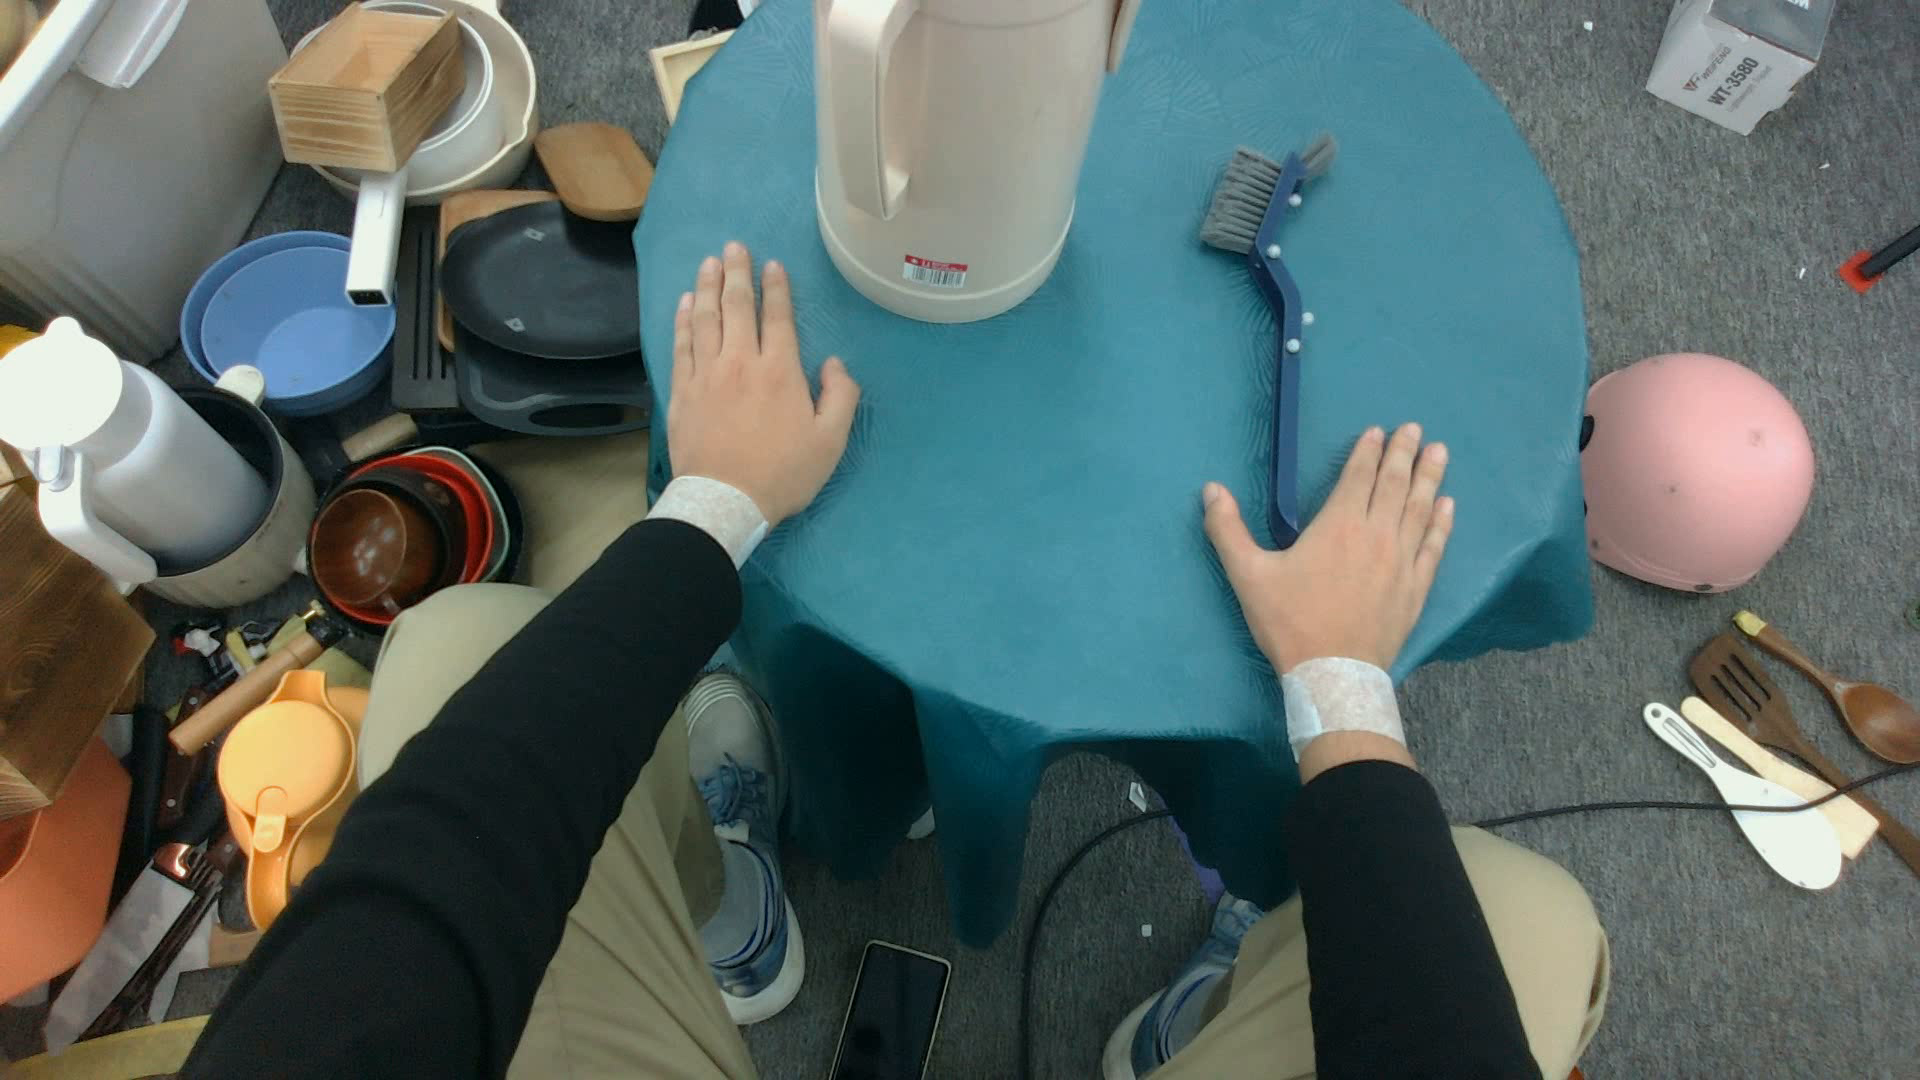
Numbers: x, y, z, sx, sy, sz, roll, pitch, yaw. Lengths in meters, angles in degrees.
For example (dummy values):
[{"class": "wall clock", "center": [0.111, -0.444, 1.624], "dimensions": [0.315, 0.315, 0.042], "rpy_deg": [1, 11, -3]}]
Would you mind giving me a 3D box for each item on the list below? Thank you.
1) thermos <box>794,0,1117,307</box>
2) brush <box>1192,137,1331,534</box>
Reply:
[{"class": "thermos", "center": [-0.013, -0.270, 0.680], "dimensions": [0.175, 0.405, 0.208], "rpy_deg": [28, 70, 3]}, {"class": "brush", "center": [0.197, -0.134, 0.844], "dimensions": [0.096, 0.033, 0.274], "rpy_deg": [0, 68, -5]}]
